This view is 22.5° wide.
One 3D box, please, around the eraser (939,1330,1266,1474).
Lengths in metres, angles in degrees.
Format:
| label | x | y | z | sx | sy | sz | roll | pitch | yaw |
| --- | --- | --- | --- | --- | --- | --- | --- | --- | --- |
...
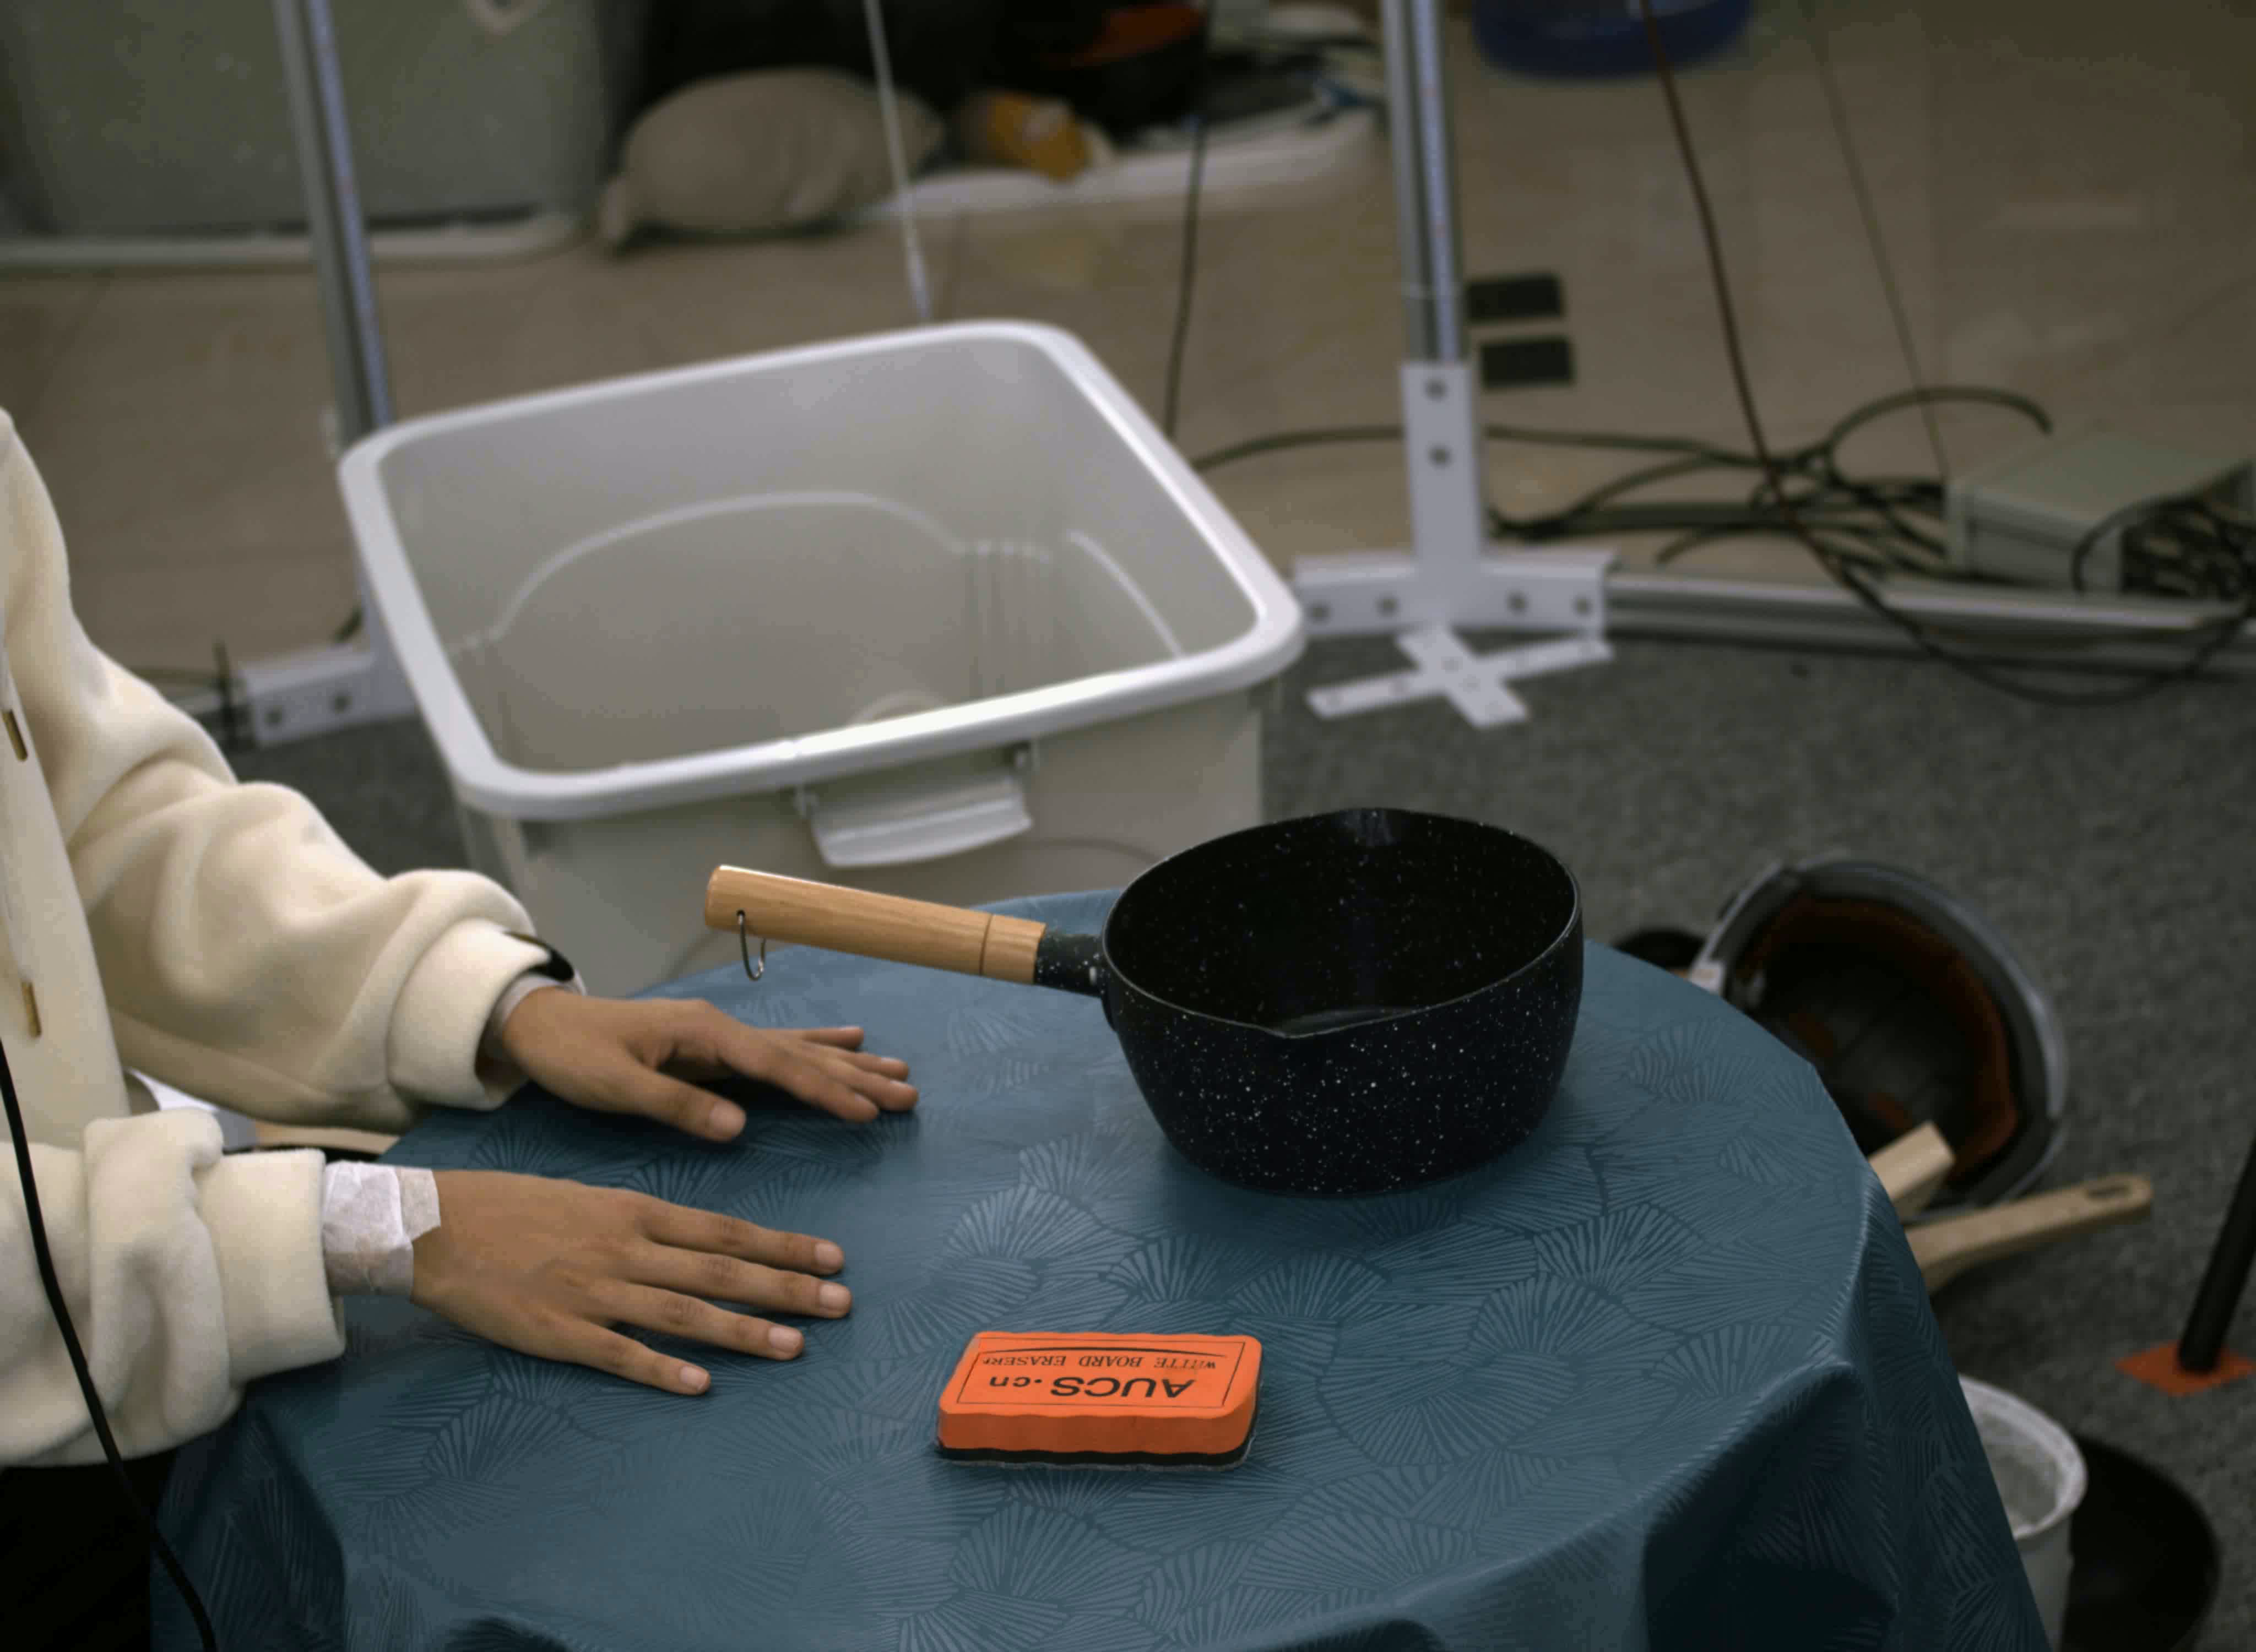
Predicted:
| label | x | y | z | sx | sy | sz | roll | pitch | yaw |
| --- | --- | --- | --- | --- | --- | --- | --- | --- | --- |
| eraser | -0.009 | 0.201 | 1.989 | 0.108 | 0.023 | 0.058 | 0 | 27 | 15 |

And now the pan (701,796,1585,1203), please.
| label | x | y | z | sx | sy | sz | roll | pitch | yaw |
| --- | --- | --- | --- | --- | --- | --- | --- | --- | --- |
| pan | 0.005 | 0.063 | 2.181 | 0.342 | 0.110 | 0.204 | 0 | 27 | 9 |
